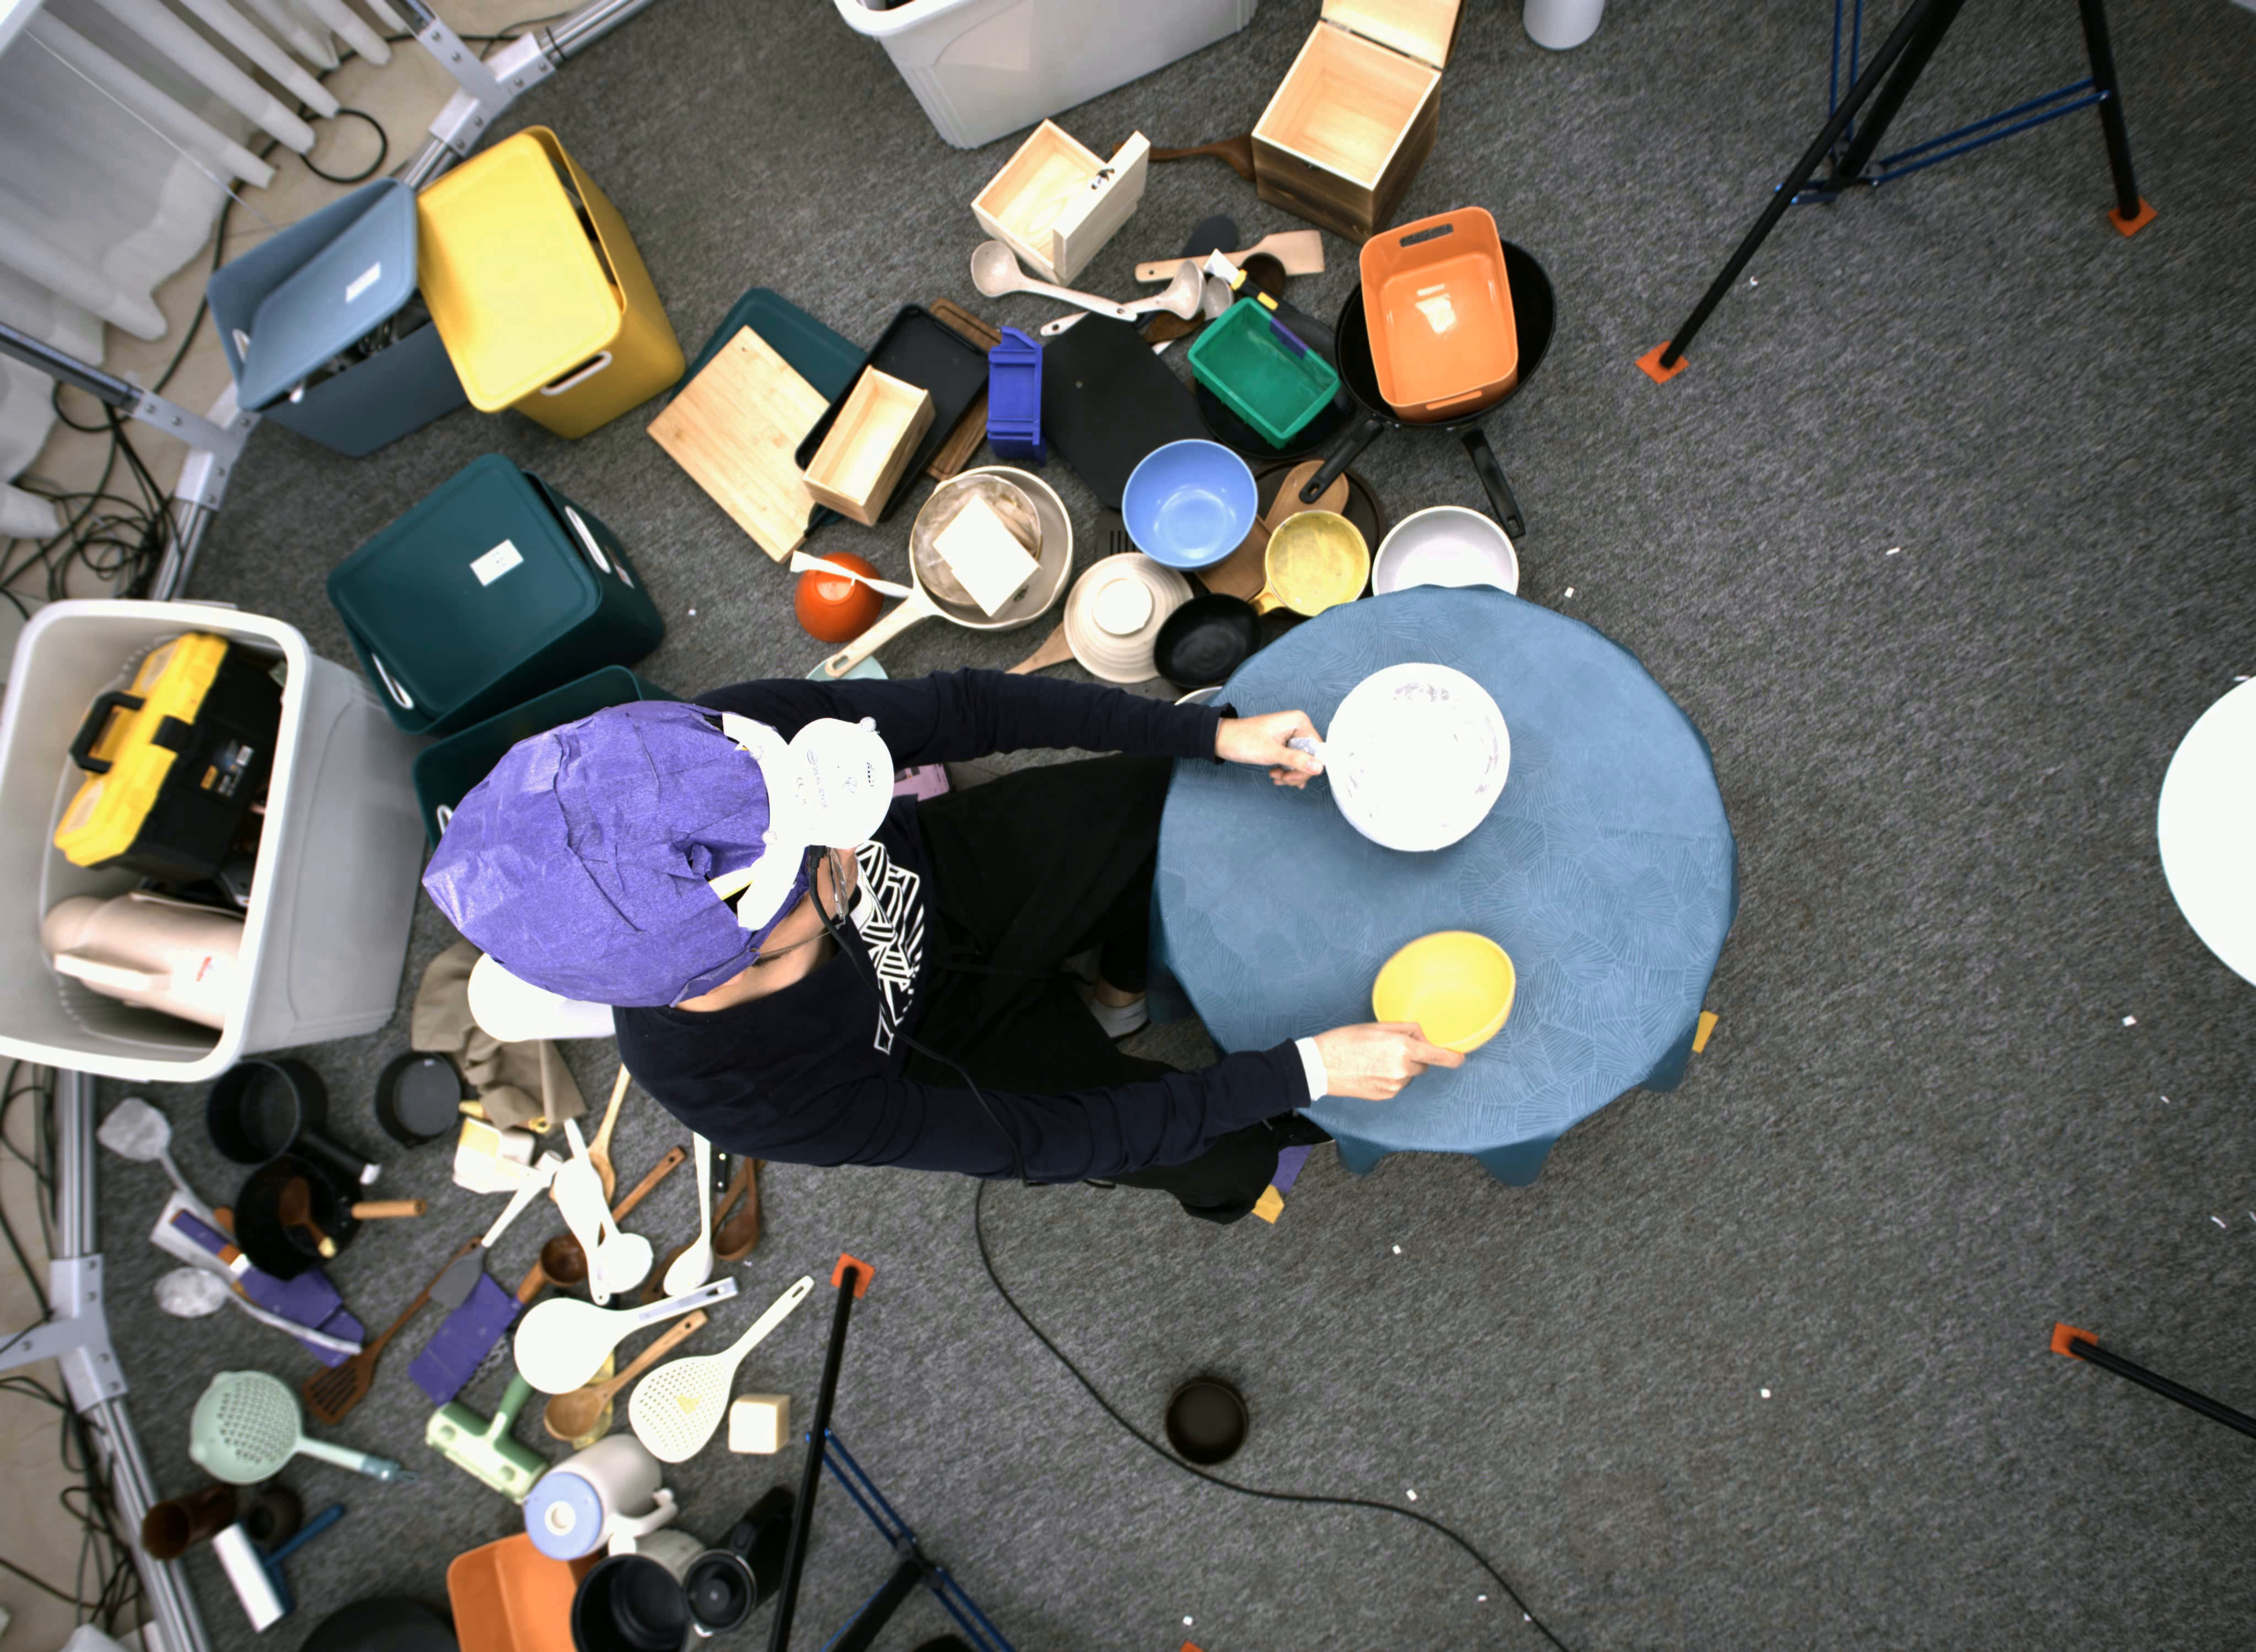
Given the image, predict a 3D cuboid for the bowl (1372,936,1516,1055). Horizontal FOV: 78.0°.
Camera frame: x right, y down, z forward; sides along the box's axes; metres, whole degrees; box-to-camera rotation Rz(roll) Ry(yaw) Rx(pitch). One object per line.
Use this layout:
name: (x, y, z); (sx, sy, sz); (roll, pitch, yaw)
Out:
bowl: (0.323, 0.180, 1.391); (0.146, 0.141, 0.061); (-16, 128, 13)

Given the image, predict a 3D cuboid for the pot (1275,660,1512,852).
pot: (0.264, -0.068, 1.399); (0.234, 0.137, 0.177); (2, 83, 10)
